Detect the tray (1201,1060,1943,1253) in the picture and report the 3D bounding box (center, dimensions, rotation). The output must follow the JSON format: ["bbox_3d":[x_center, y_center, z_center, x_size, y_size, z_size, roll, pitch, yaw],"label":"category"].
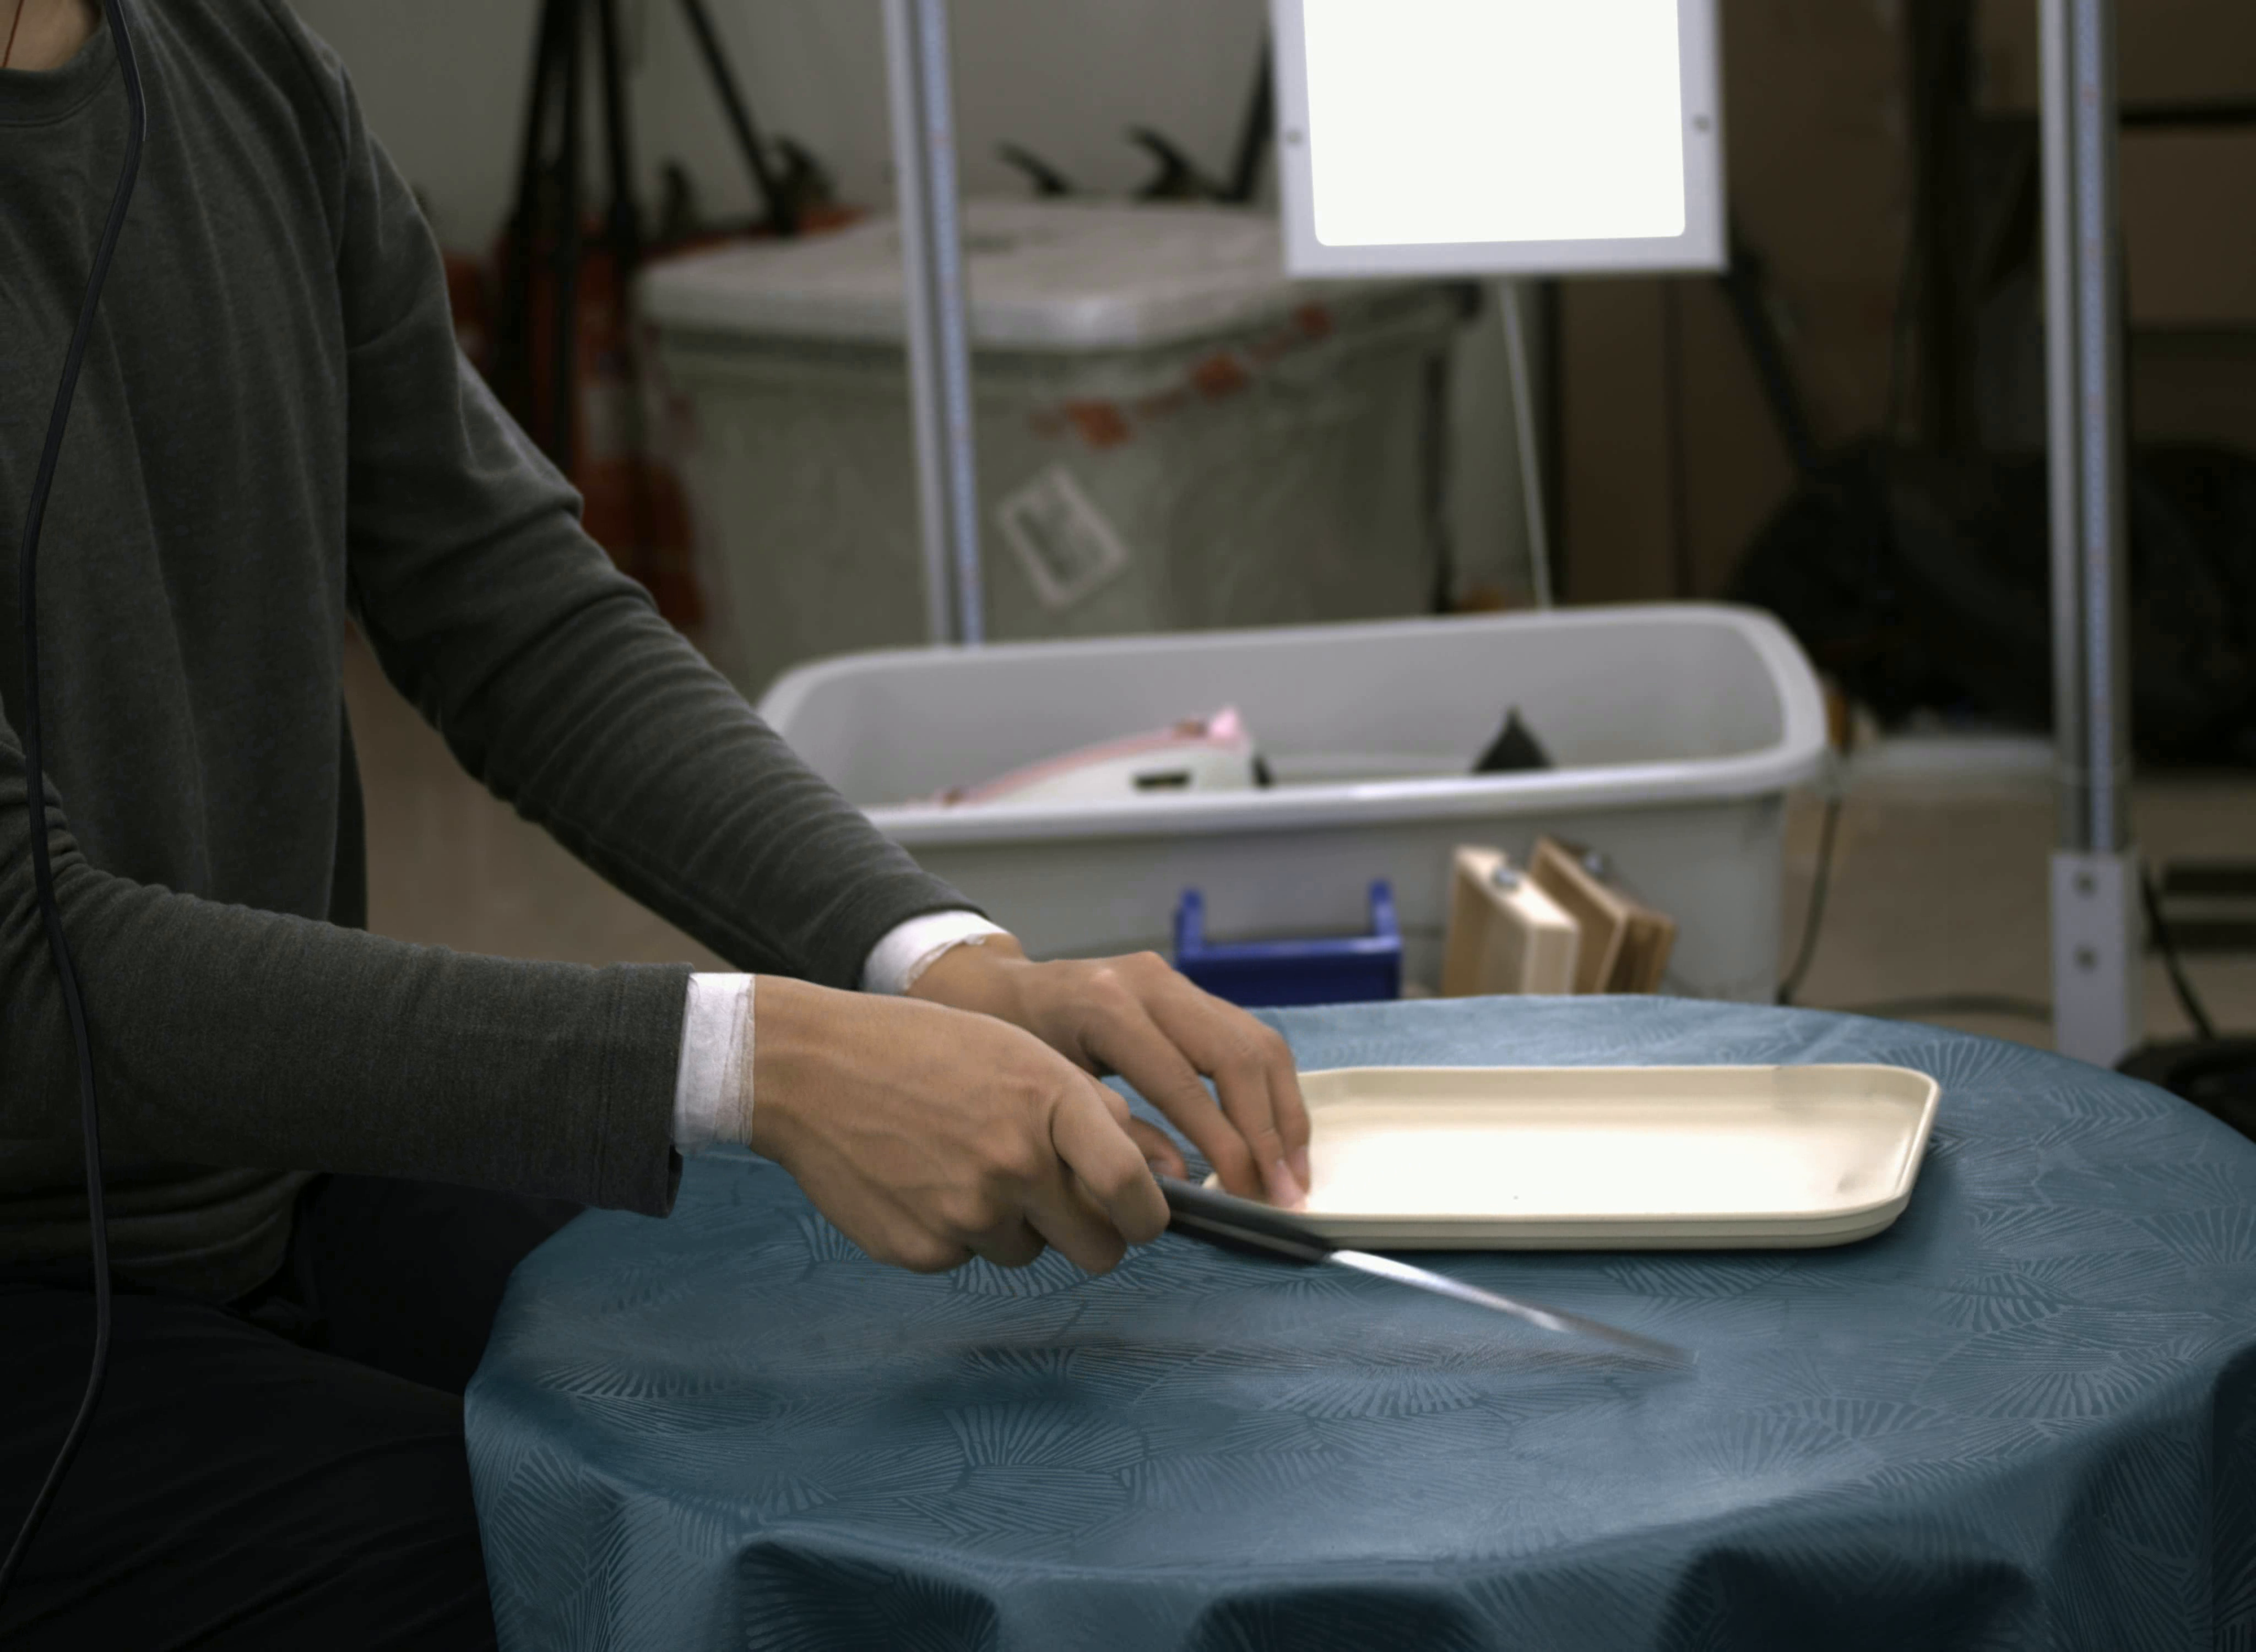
[{"bbox_3d":[0.154,0.113,1.866,0.242,0.017,0.169,-1,15,17],"label":"tray"}]

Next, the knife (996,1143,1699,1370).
[{"bbox_3d":[0.065,0.136,1.716,0.241,0.016,0.024,15,14,21],"label":"knife"}]
